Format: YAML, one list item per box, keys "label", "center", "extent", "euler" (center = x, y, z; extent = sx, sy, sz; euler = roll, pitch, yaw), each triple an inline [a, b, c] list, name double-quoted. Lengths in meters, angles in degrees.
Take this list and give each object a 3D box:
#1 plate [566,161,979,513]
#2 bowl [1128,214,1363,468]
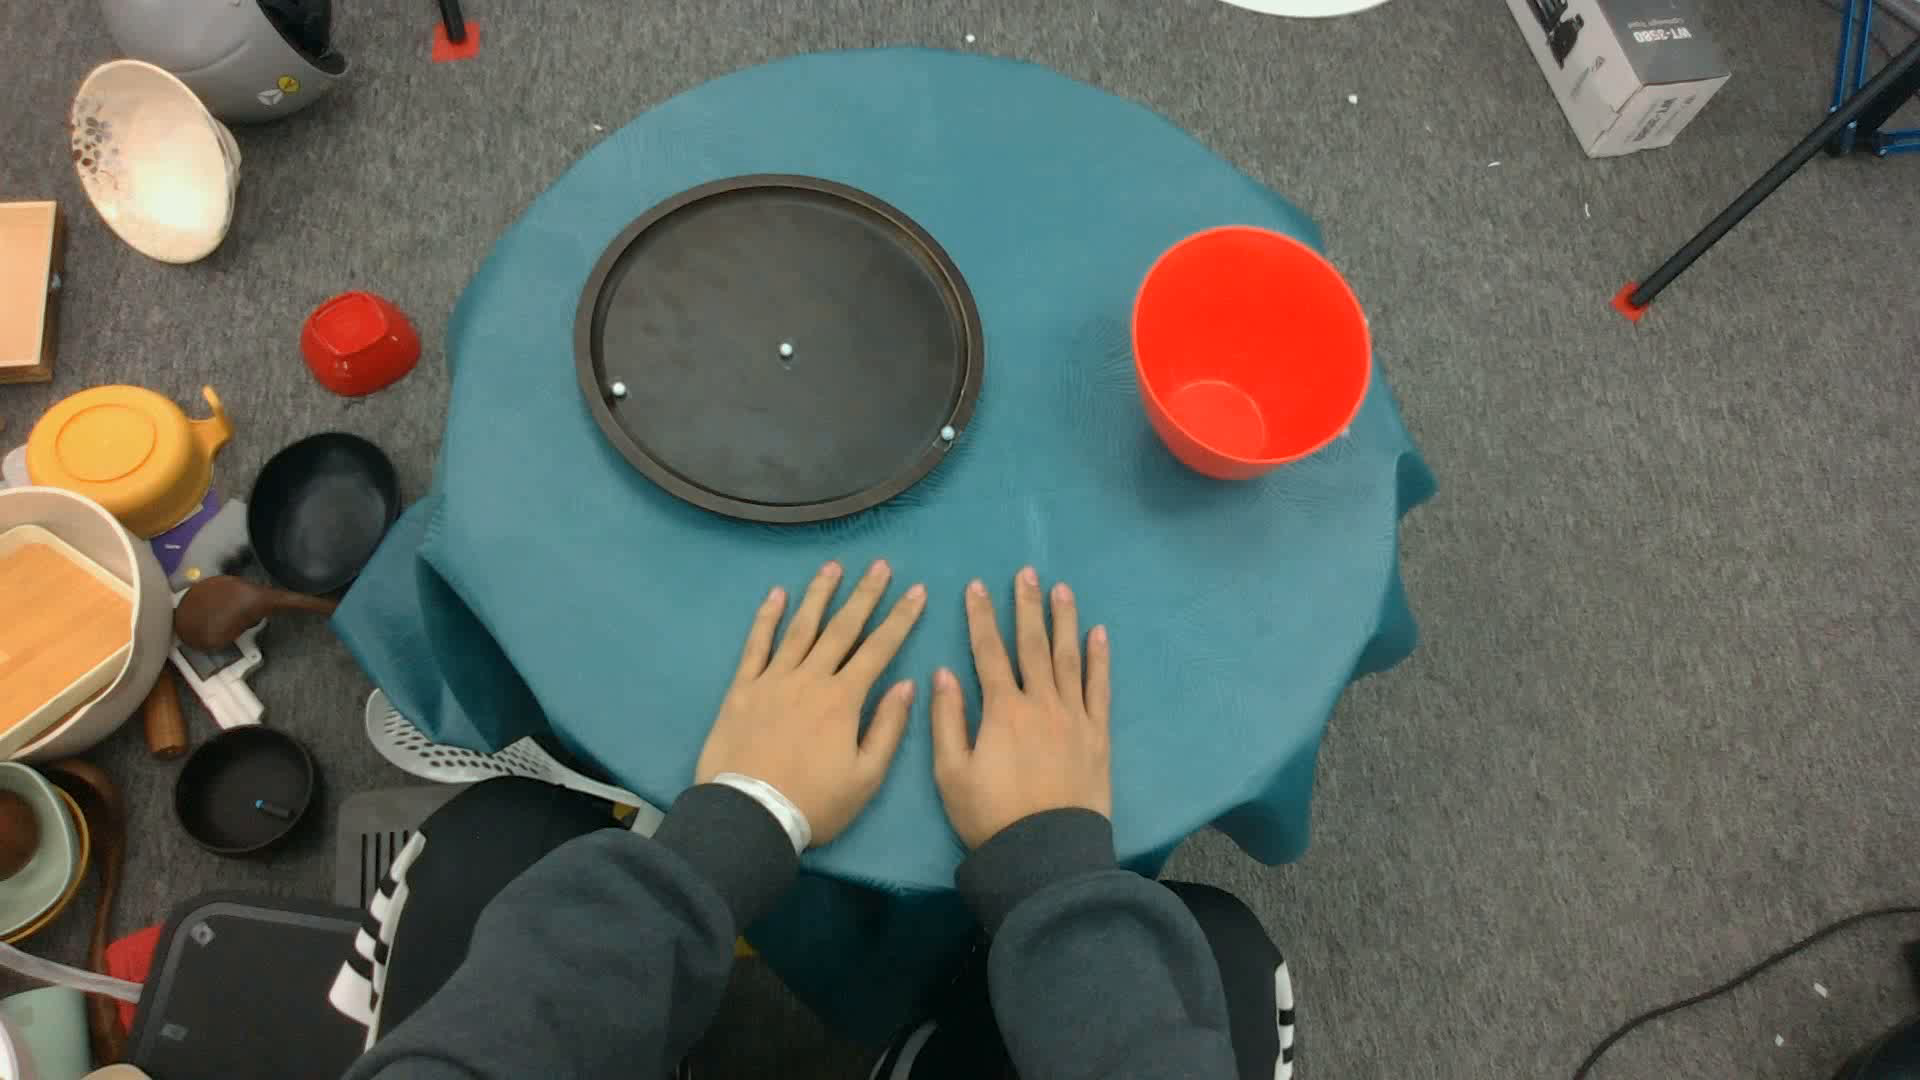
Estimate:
- label: "plate"
  center: [-0.115, -0.130, 0.859]
  extent: [0.255, 0.029, 0.255]
  euler: [4, 66, -9]
- label: "bowl"
  center: [0.163, -0.109, 0.850]
  extent: [0.148, 0.104, 0.148]
  euler: [4, 65, -9]
